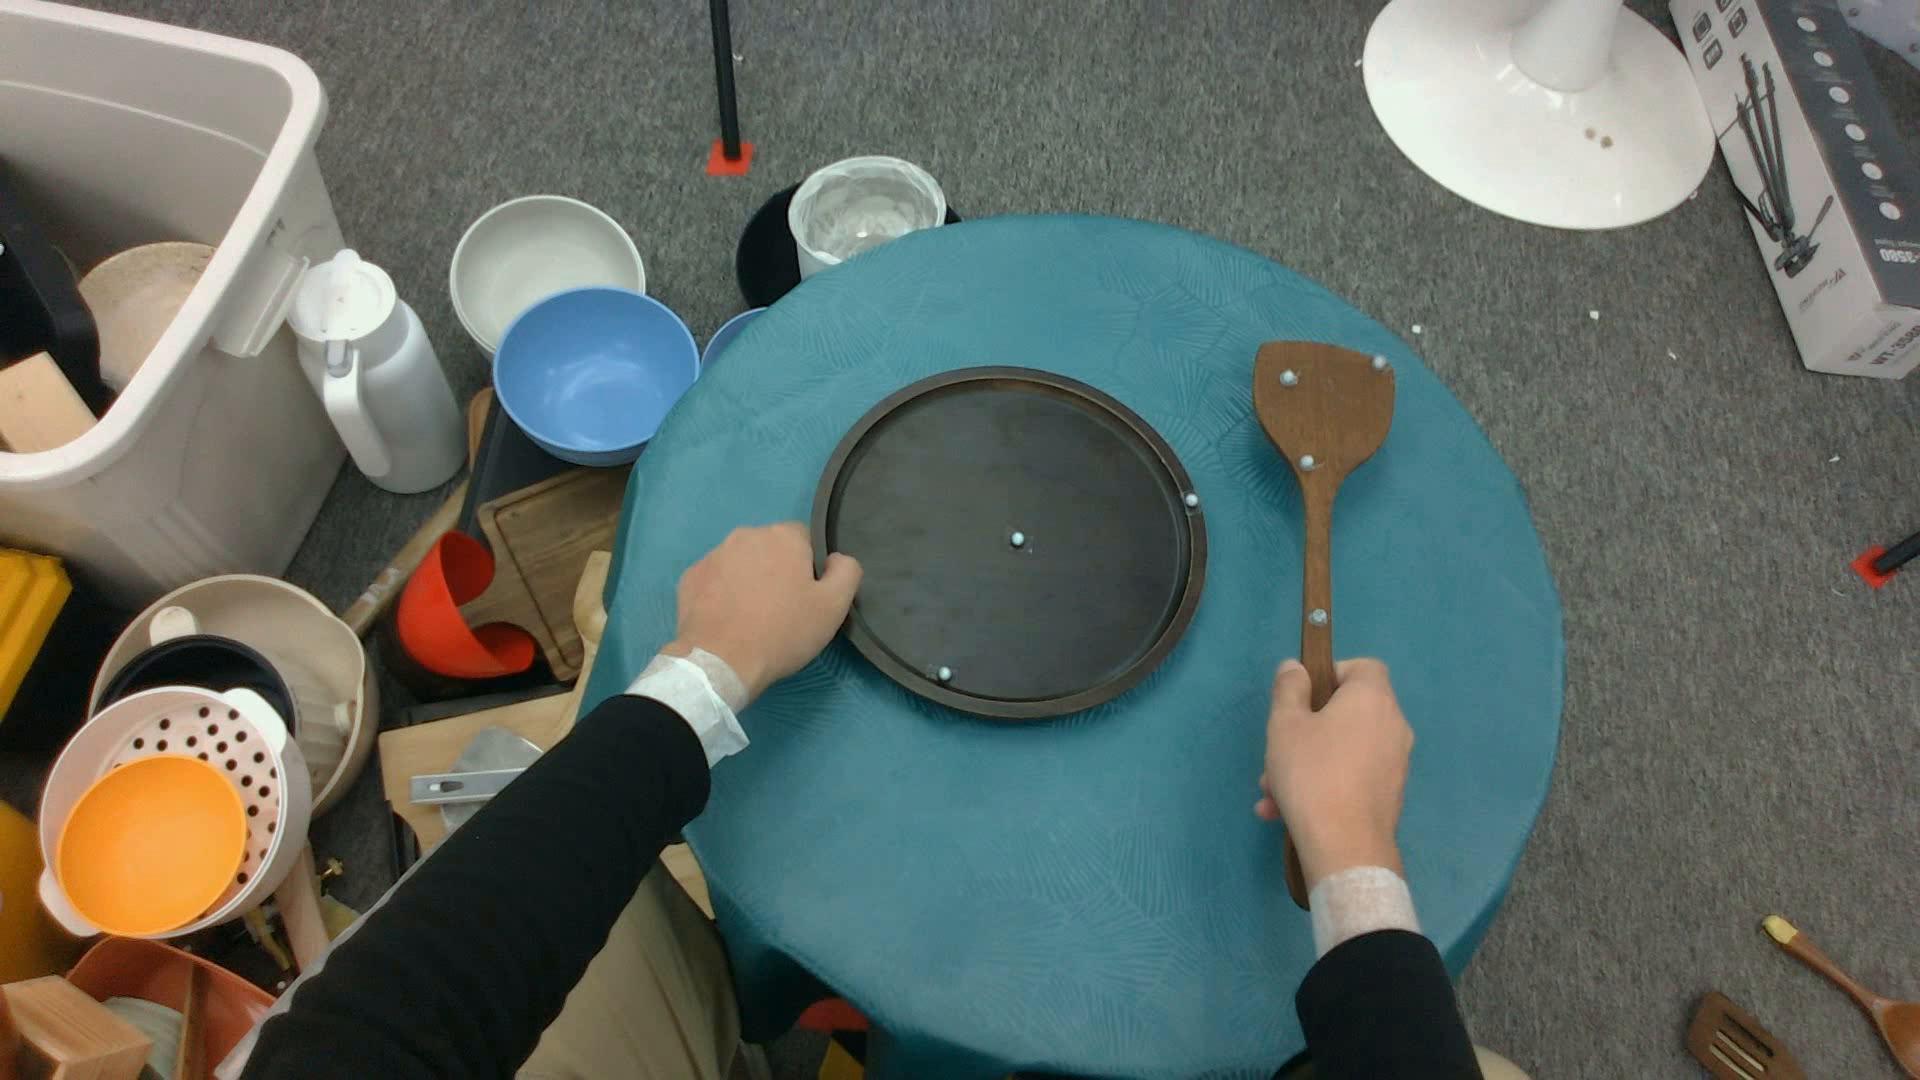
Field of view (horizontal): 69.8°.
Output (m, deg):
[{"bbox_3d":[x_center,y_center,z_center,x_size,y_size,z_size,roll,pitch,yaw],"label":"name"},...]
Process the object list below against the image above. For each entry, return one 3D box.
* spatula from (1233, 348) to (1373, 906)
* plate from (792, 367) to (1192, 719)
[{"bbox_3d":[0.205,0.033,0.836,0.096,0.016,0.388,12,57,-3],"label":"spatula"},{"bbox_3d":[0.020,-0.004,0.873,0.255,0.029,0.256,3,60,-5],"label":"plate"}]
